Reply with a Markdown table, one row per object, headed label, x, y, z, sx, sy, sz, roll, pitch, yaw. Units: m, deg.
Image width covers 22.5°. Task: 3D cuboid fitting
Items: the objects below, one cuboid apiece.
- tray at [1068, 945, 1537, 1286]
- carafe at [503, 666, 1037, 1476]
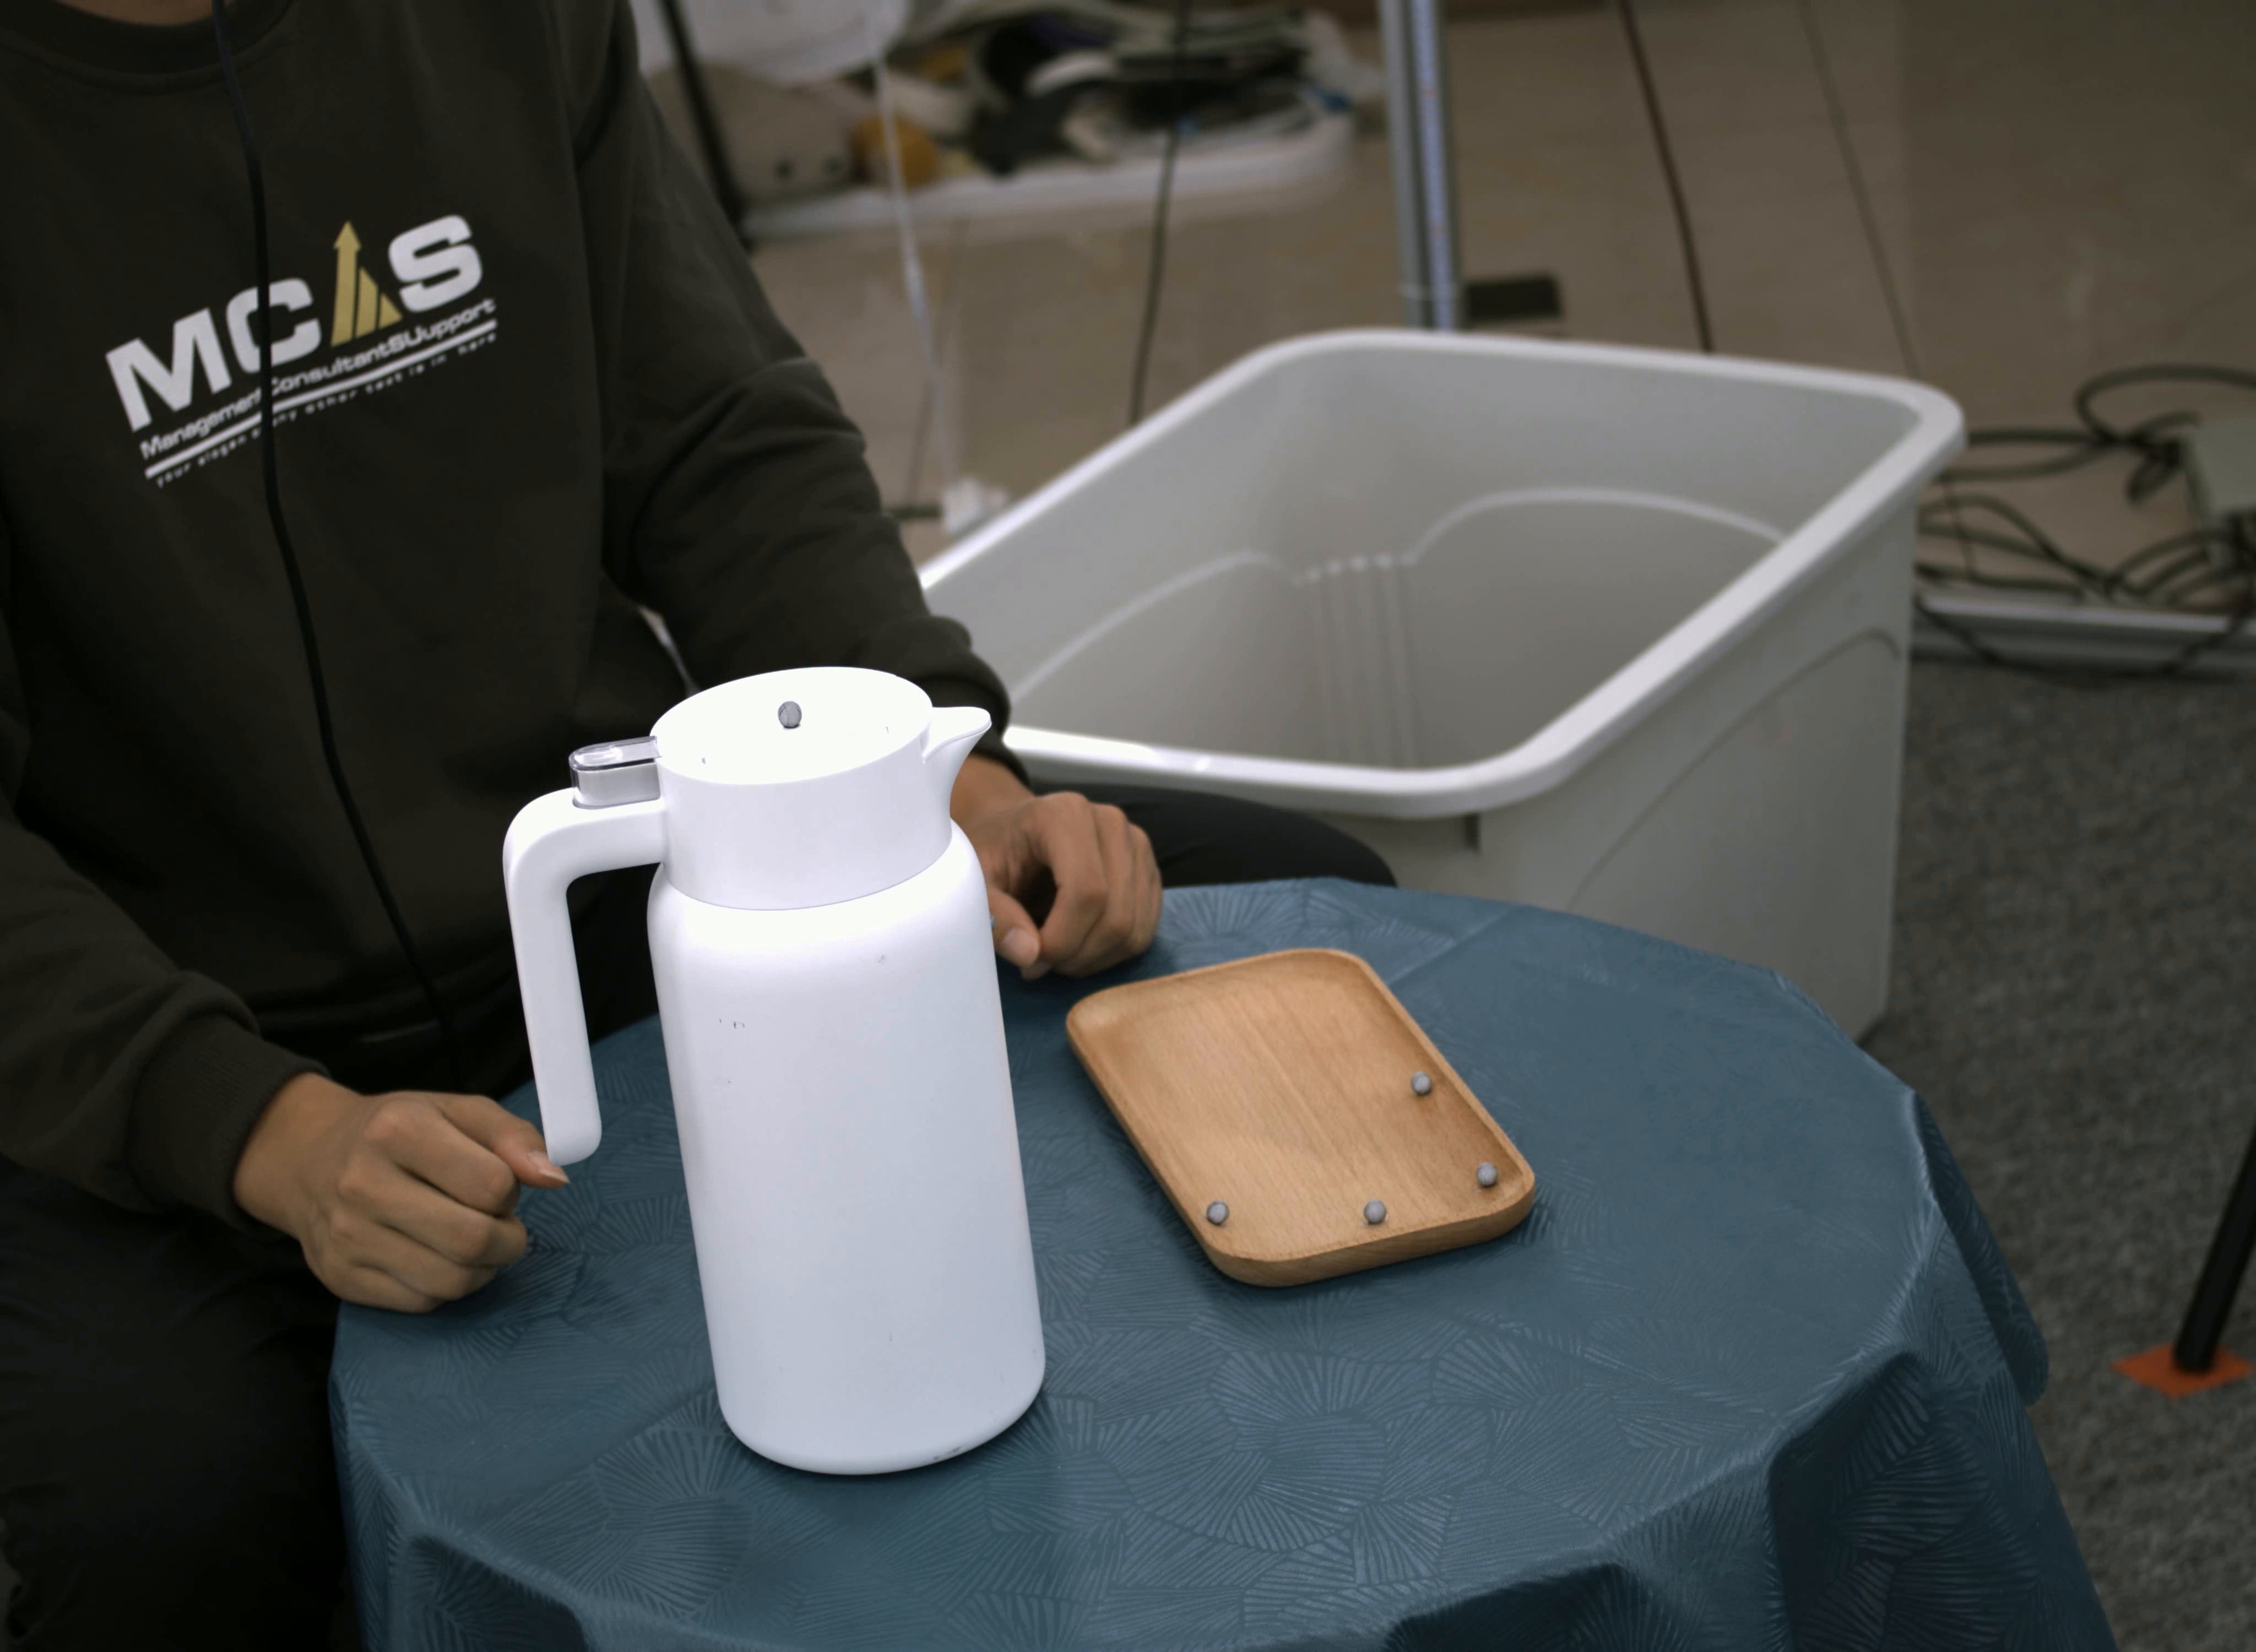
| label | x | y | z | sx | sy | sz | roll | pitch | yaw |
| --- | --- | --- | --- | --- | --- | --- | --- | --- | --- |
| tray | 0.064 | 0.109 | 2.178 | 0.130 | 0.023 | 0.247 | -9 | 24 | -12 |
| carafe | -0.118 | 0.088 | 1.962 | 0.172 | 0.273 | 0.122 | -9 | 27 | -7 |
